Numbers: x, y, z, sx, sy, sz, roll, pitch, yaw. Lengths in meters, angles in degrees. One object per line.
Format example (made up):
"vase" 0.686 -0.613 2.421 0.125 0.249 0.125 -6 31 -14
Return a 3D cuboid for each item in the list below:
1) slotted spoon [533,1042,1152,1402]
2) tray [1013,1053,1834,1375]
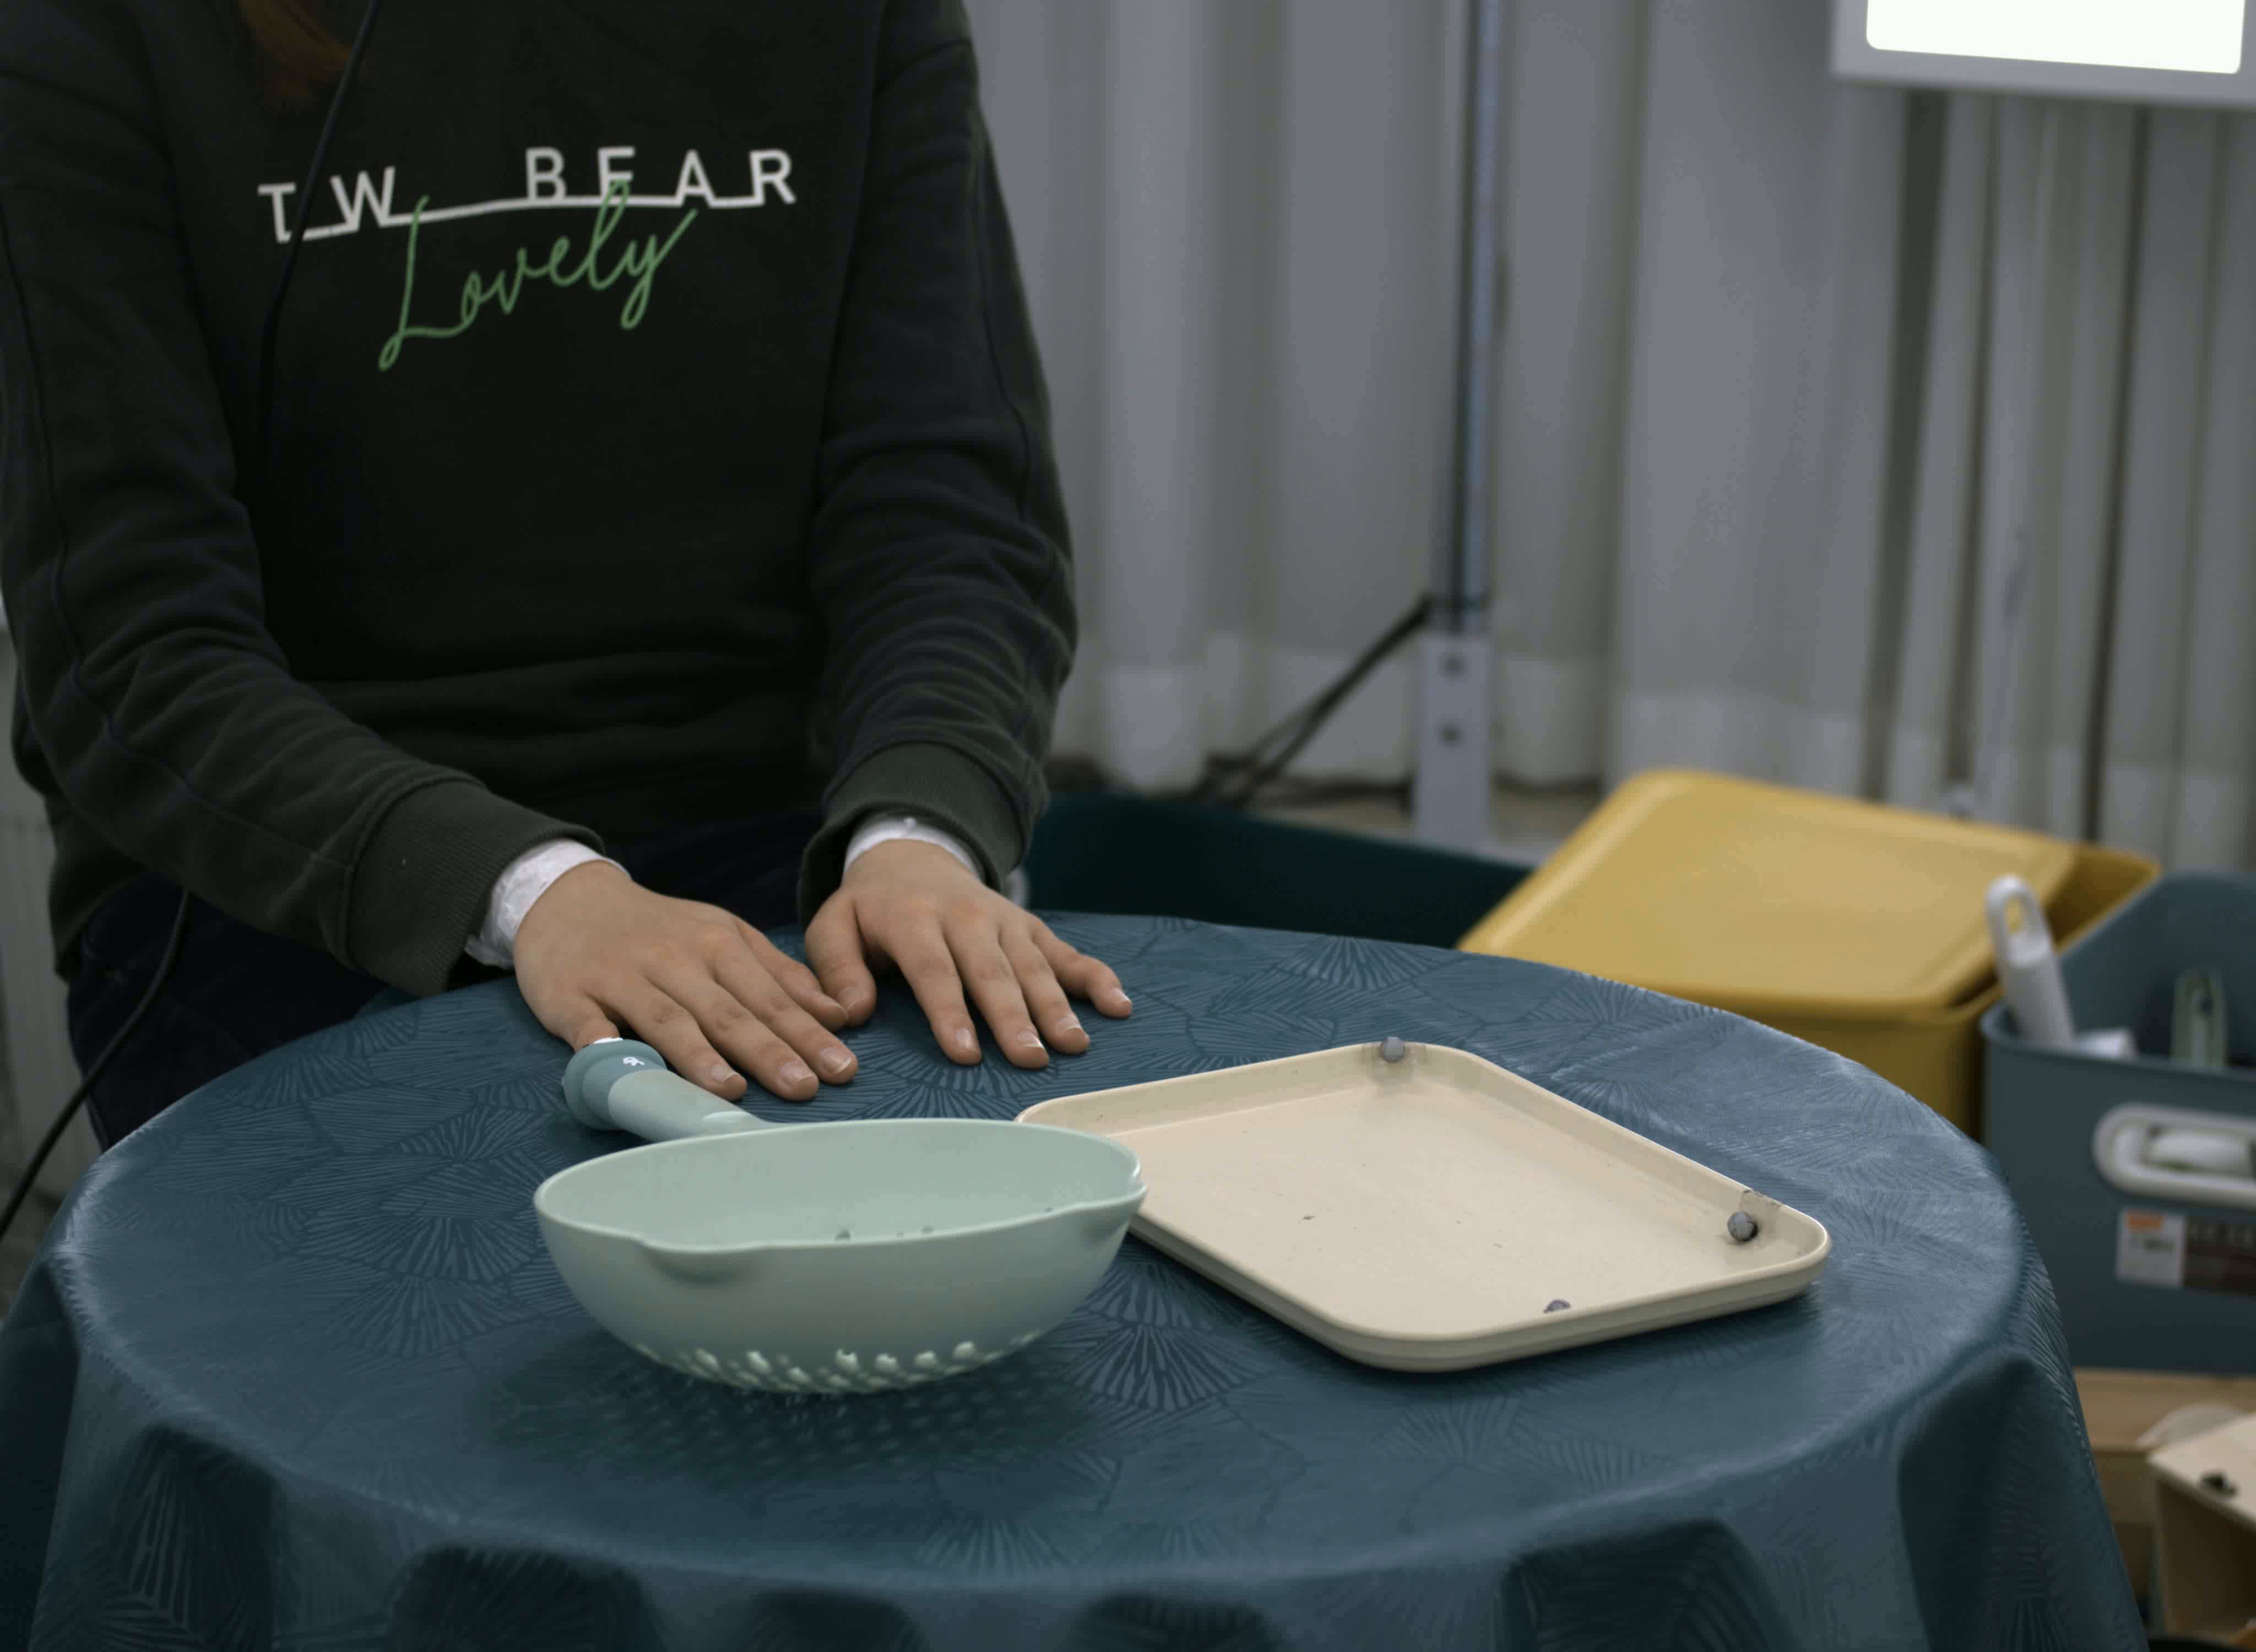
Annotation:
"slotted spoon" -0.113 0.100 1.550 0.170 0.076 0.355 -5 16 -20
"tray" 0.085 0.115 1.591 0.172 0.017 0.236 -8 17 -30
